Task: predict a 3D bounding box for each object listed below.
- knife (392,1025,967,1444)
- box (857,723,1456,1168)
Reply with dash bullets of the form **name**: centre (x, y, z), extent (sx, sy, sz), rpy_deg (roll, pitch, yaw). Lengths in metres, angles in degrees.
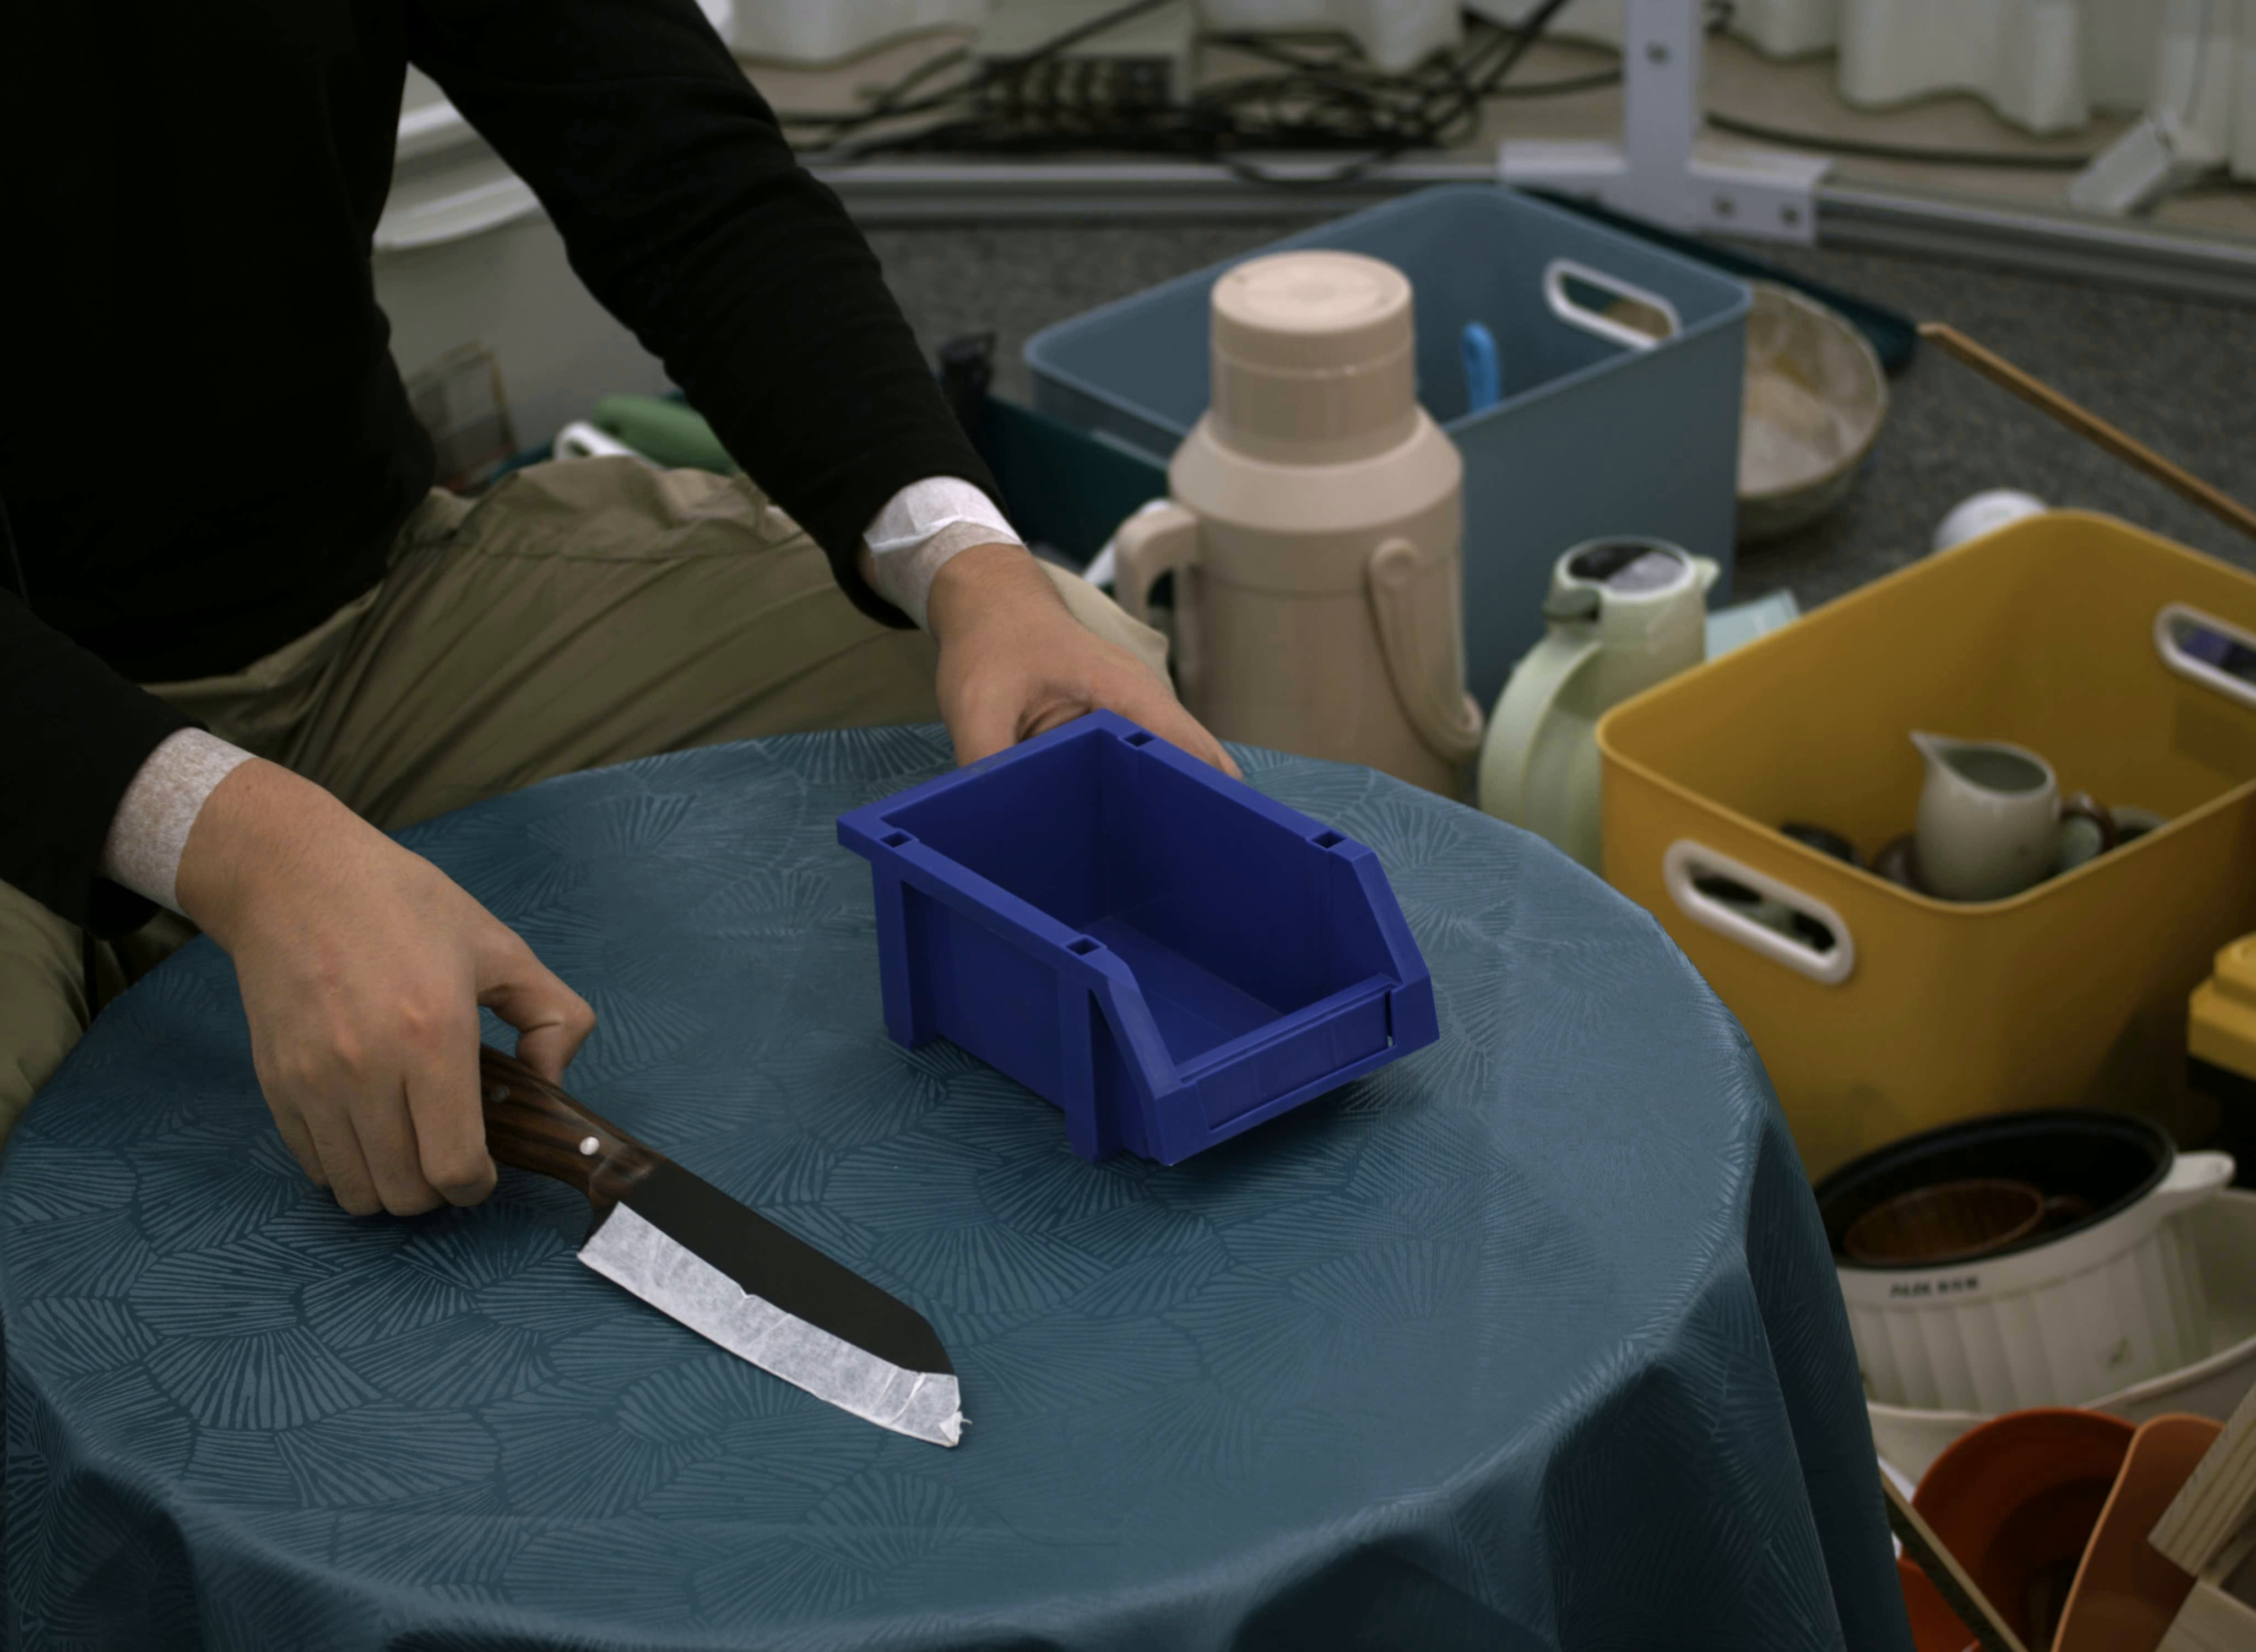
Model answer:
- **knife**: centre (-0.148, 0.131, 1.819), extent (0.289, 0.020, 0.050), rpy_deg (30, 74, 39)
- **box**: centre (0.010, 0.044, 1.922), extent (0.125, 0.081, 0.179), rpy_deg (-21, 30, -32)
